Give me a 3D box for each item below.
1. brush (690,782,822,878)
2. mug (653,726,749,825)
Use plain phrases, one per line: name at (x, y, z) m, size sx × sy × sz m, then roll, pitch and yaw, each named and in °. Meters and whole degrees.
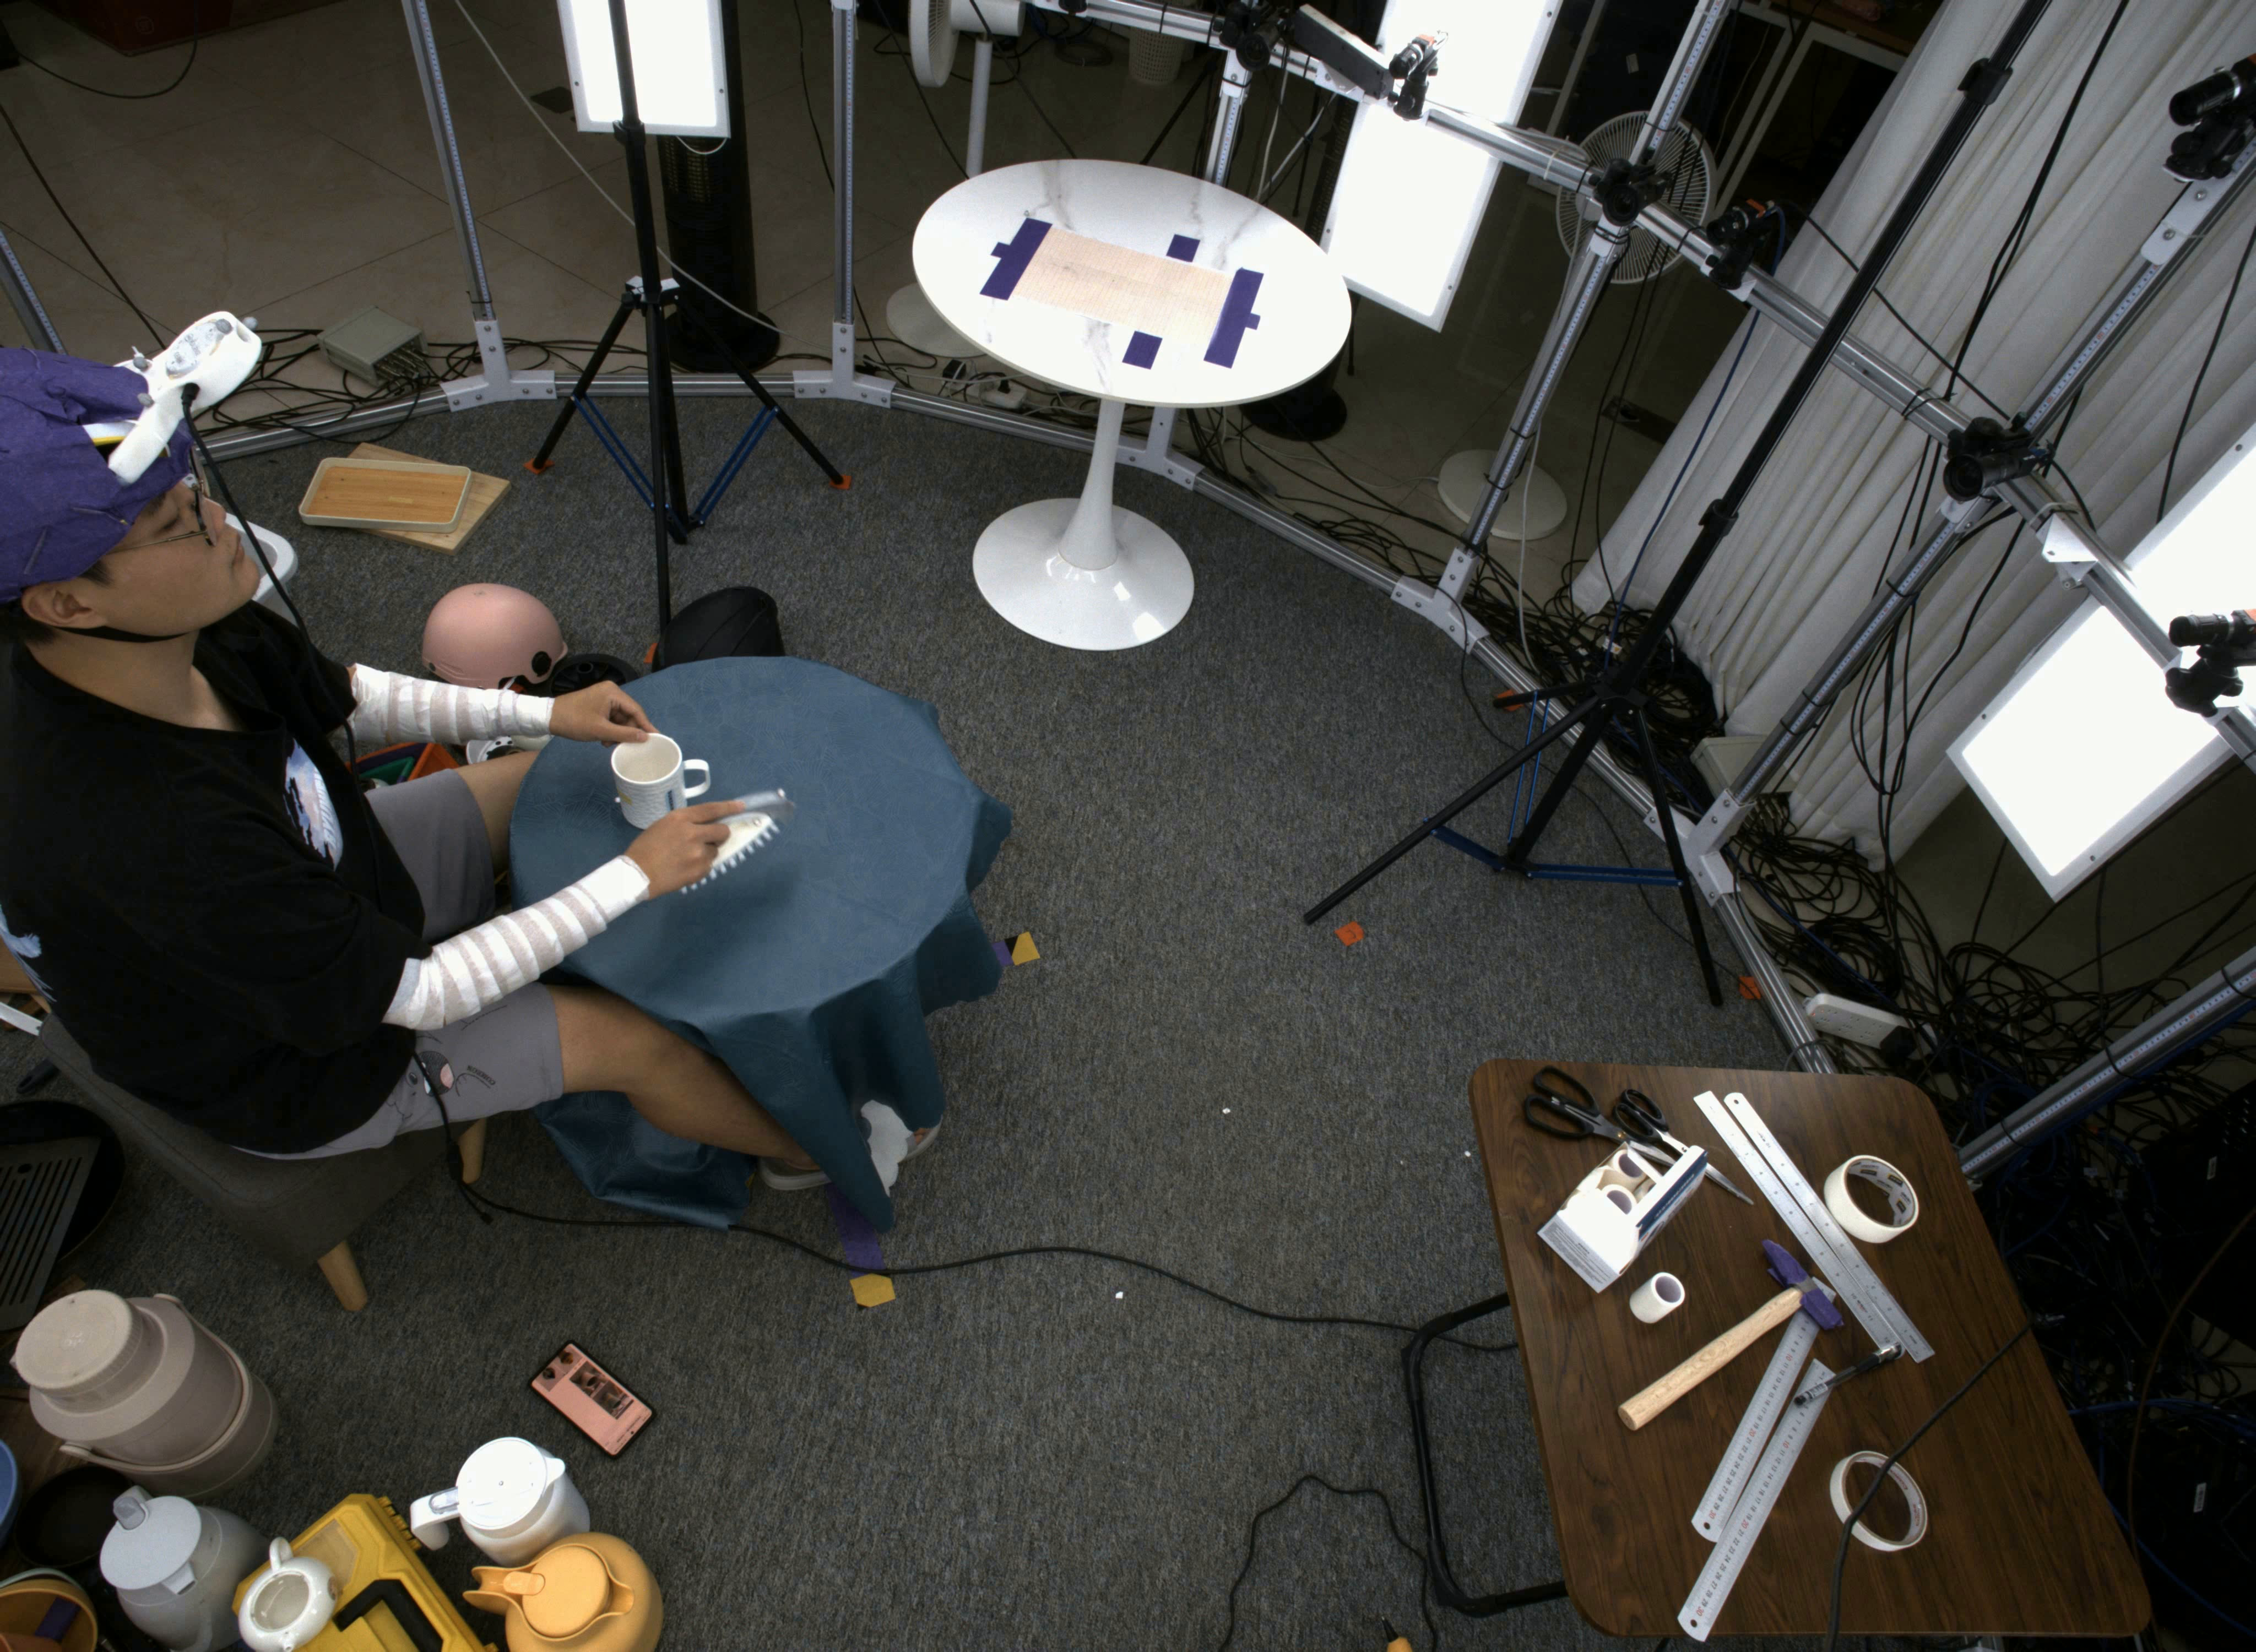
brush at (-0.456, -0.012, 1.590) m, size 0.175 × 0.095 × 0.061 m, roll -31°, pitch 77°, yaw -18°
mug at (-0.555, -0.066, 1.684) m, size 0.118 × 0.104 × 0.083 m, roll -5°, pitch 54°, yaw -17°
